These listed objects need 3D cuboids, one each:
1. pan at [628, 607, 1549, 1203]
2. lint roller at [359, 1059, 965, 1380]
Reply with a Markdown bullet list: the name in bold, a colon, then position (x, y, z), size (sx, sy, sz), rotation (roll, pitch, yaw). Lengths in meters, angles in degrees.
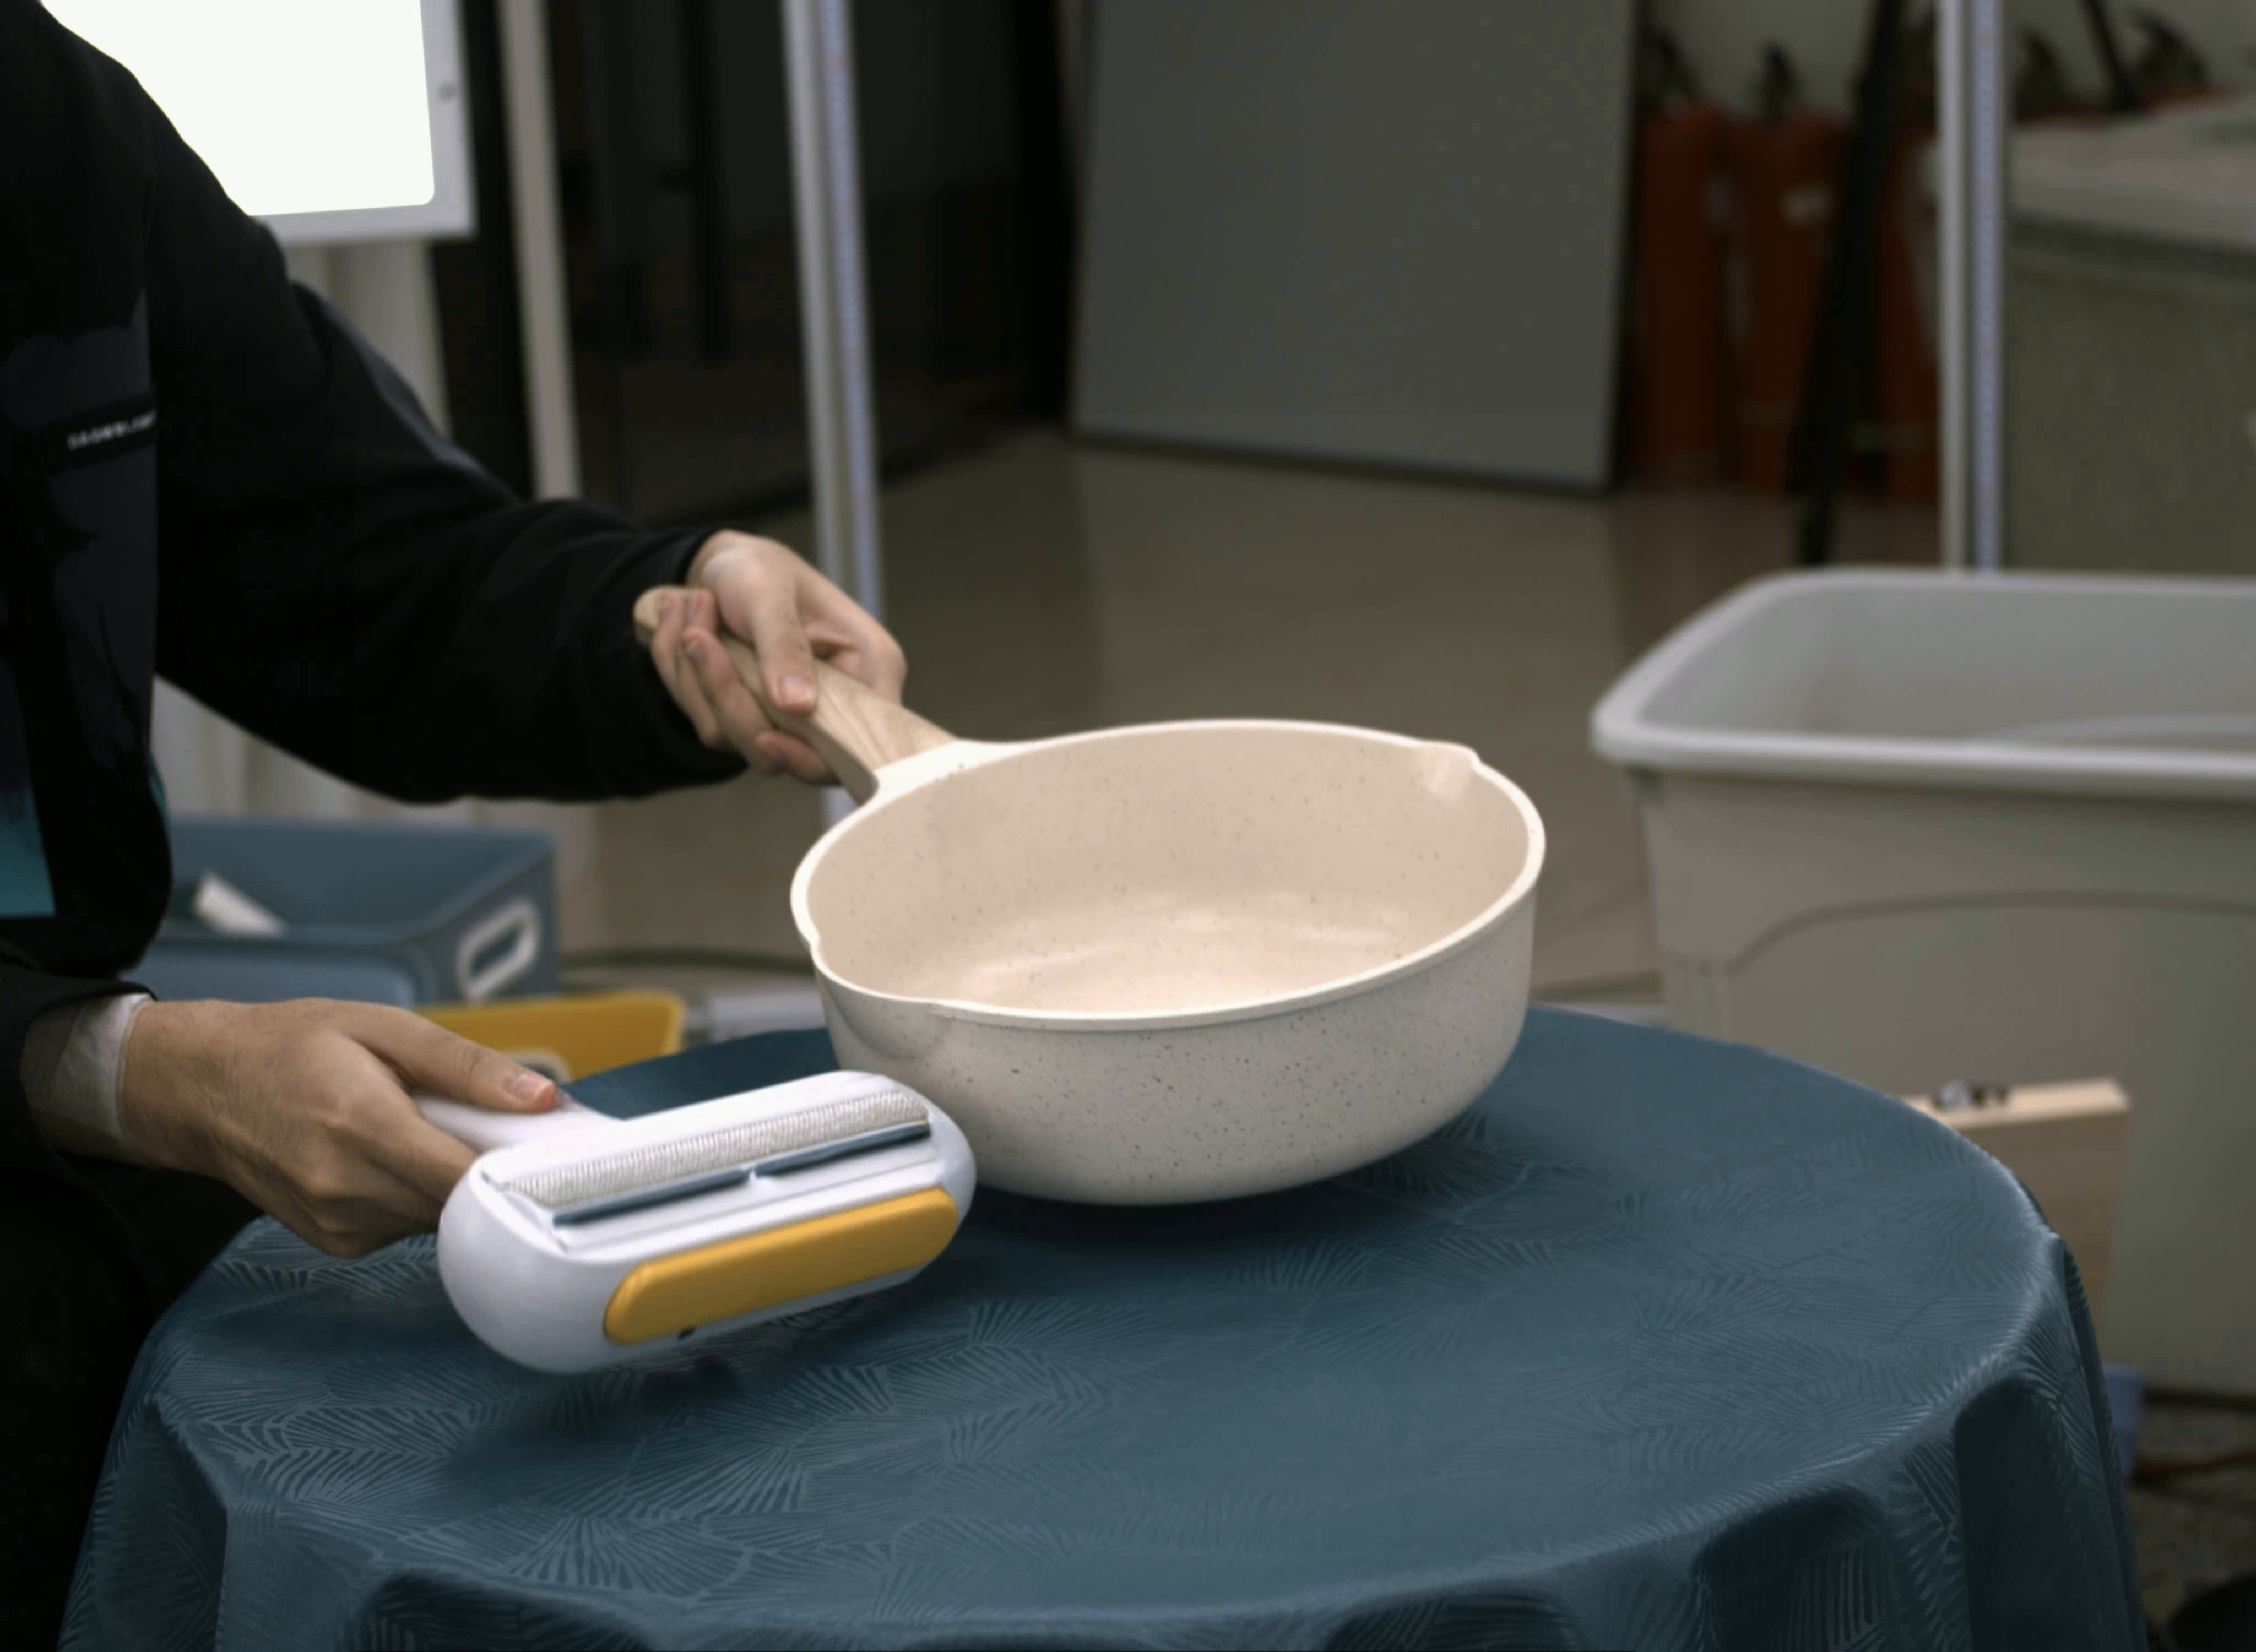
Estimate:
- **pan**: position (-0.037, 0.016, 1.857), size (0.258, 0.103, 0.439), rotation (-23, 27, -31)
- **lint roller**: position (-0.170, 0.103, 1.666), size (0.188, 0.075, 0.194), rotation (-12, 30, -41)
